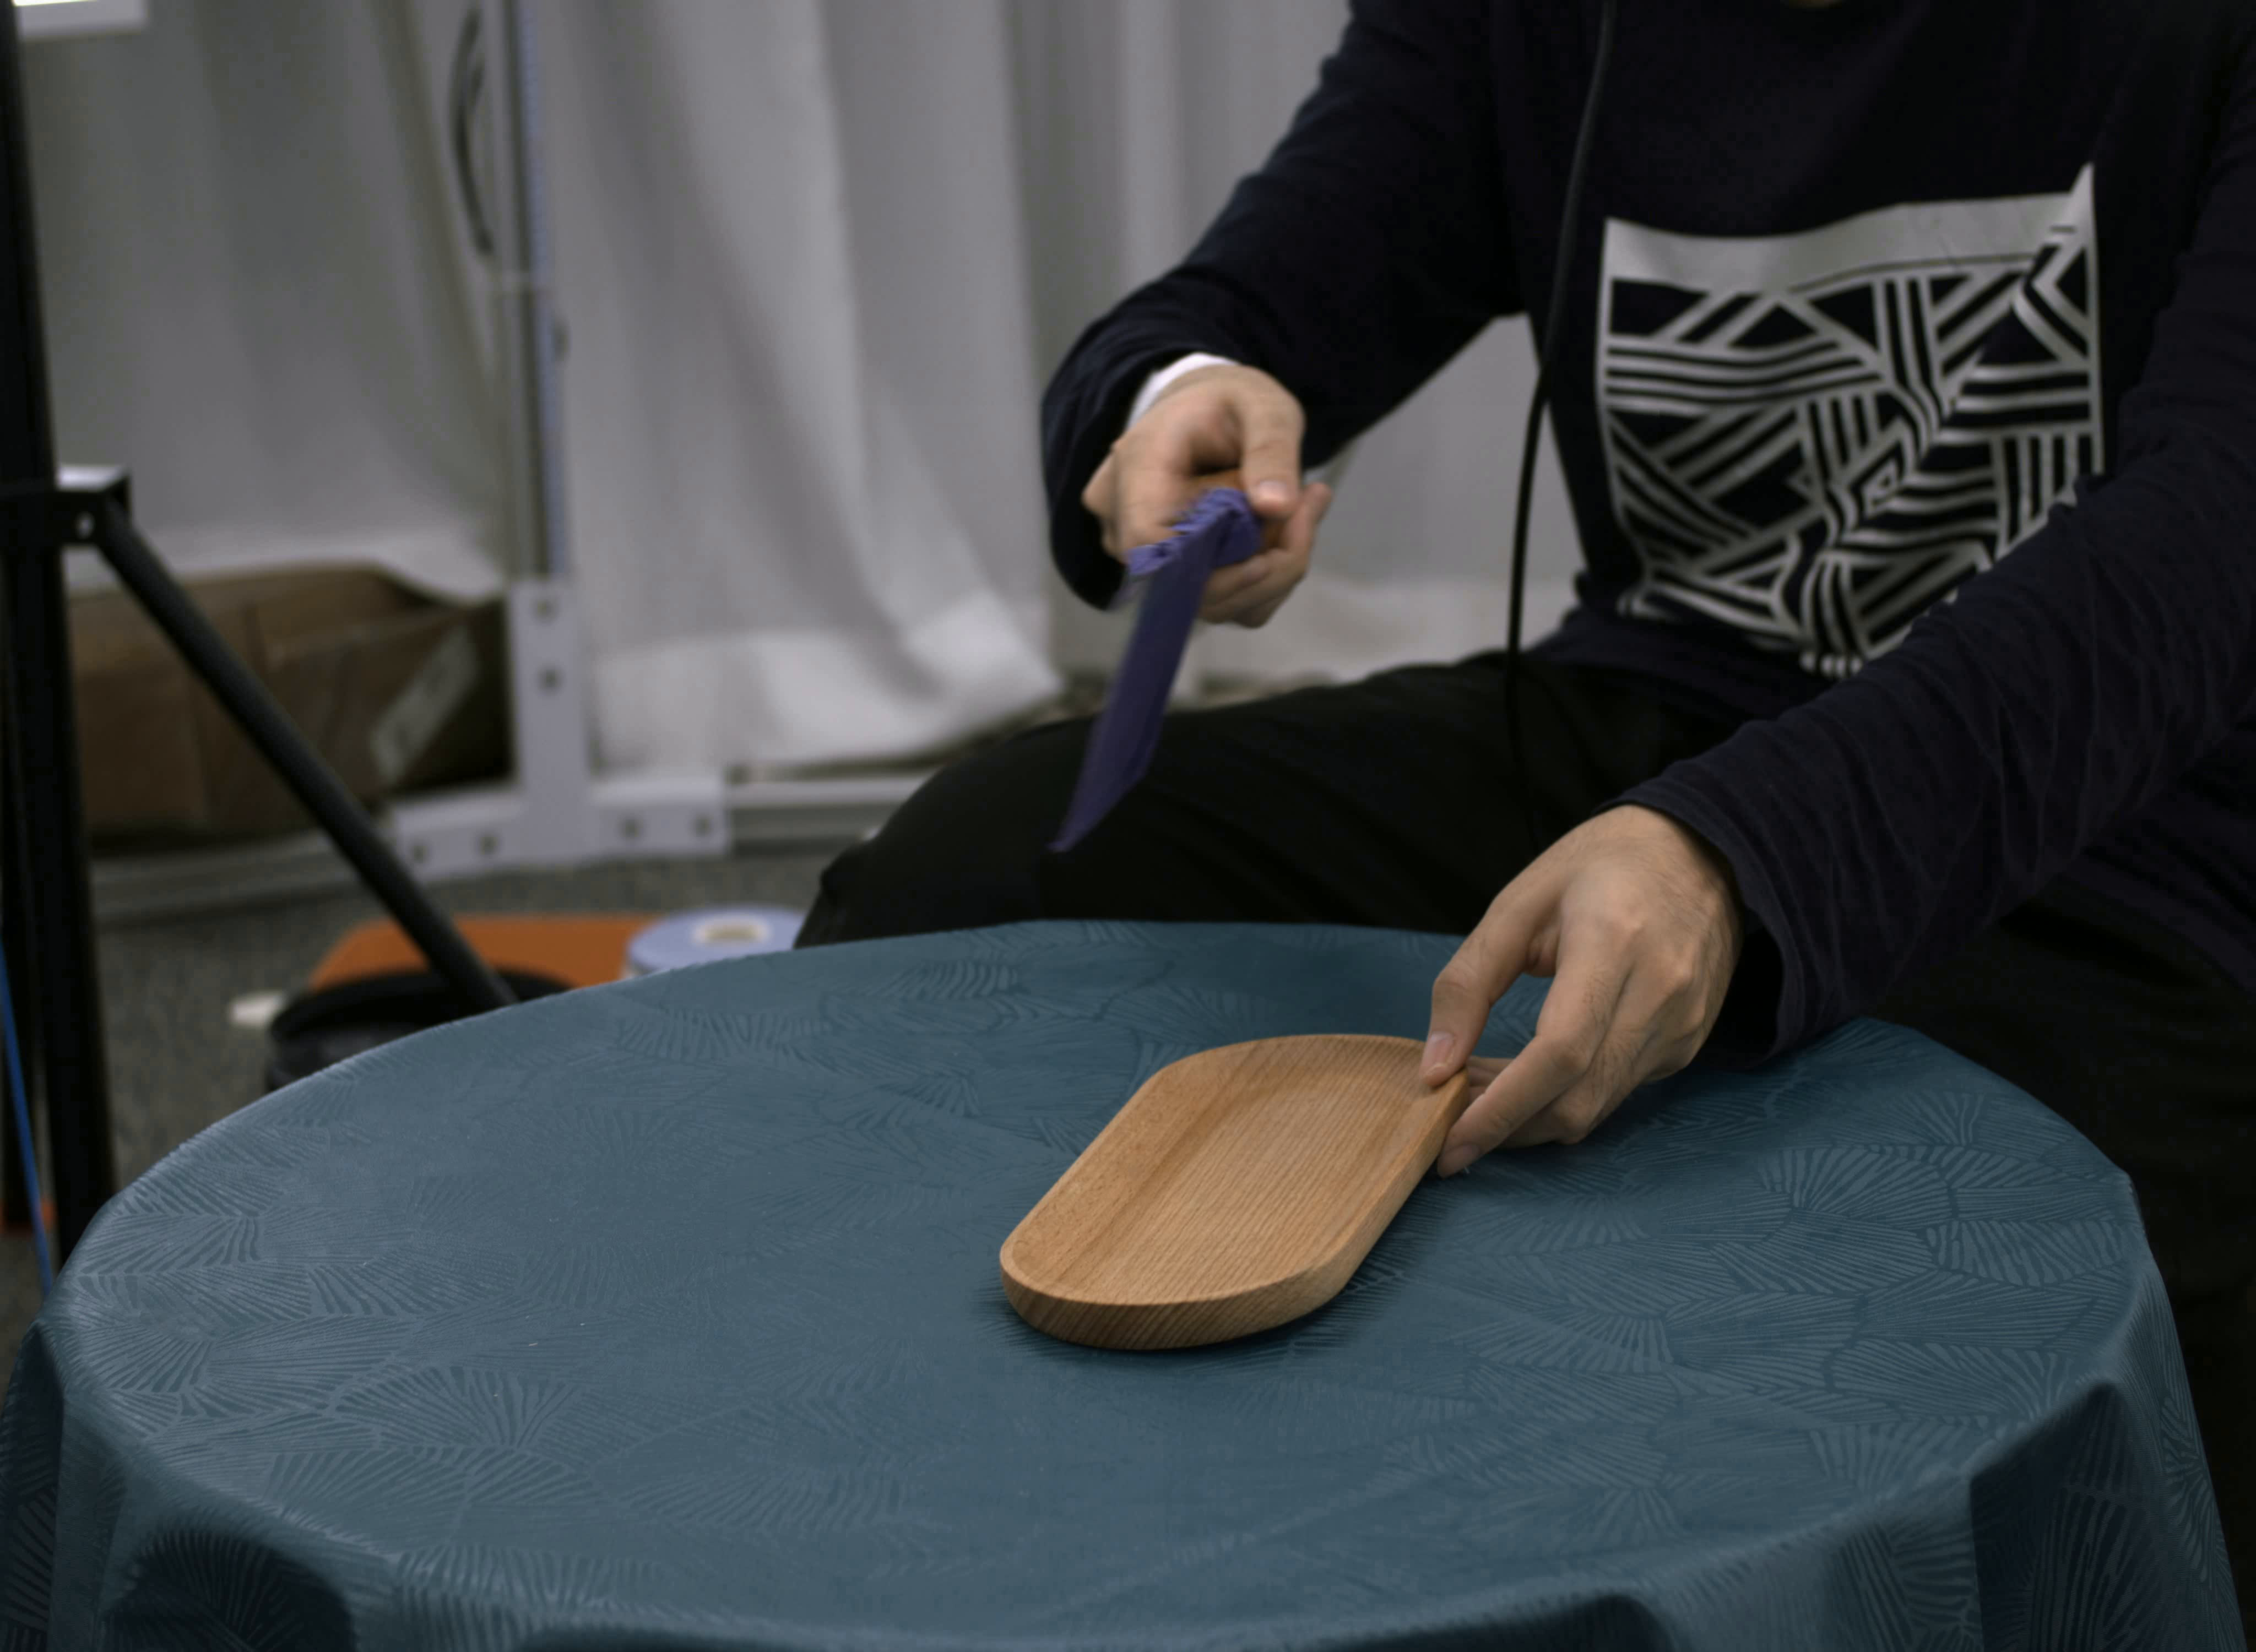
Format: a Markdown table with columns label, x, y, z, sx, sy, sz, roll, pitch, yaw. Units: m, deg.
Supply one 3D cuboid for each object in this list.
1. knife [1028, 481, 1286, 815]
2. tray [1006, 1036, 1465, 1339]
| label | x | y | z | sx | sy | sz | roll | pitch | yaw |
| --- | --- | --- | --- | --- | --- | --- | --- | --- | --- |
| knife | 0.006 | -0.057 | 1.655 | 0.032 | 0.104 | 0.313 | 20 | 9 | 7 |
| tray | 0.034 | 0.102 | 1.538 | 0.102 | 0.020 | 0.229 | 0 | 14 | 17 |
